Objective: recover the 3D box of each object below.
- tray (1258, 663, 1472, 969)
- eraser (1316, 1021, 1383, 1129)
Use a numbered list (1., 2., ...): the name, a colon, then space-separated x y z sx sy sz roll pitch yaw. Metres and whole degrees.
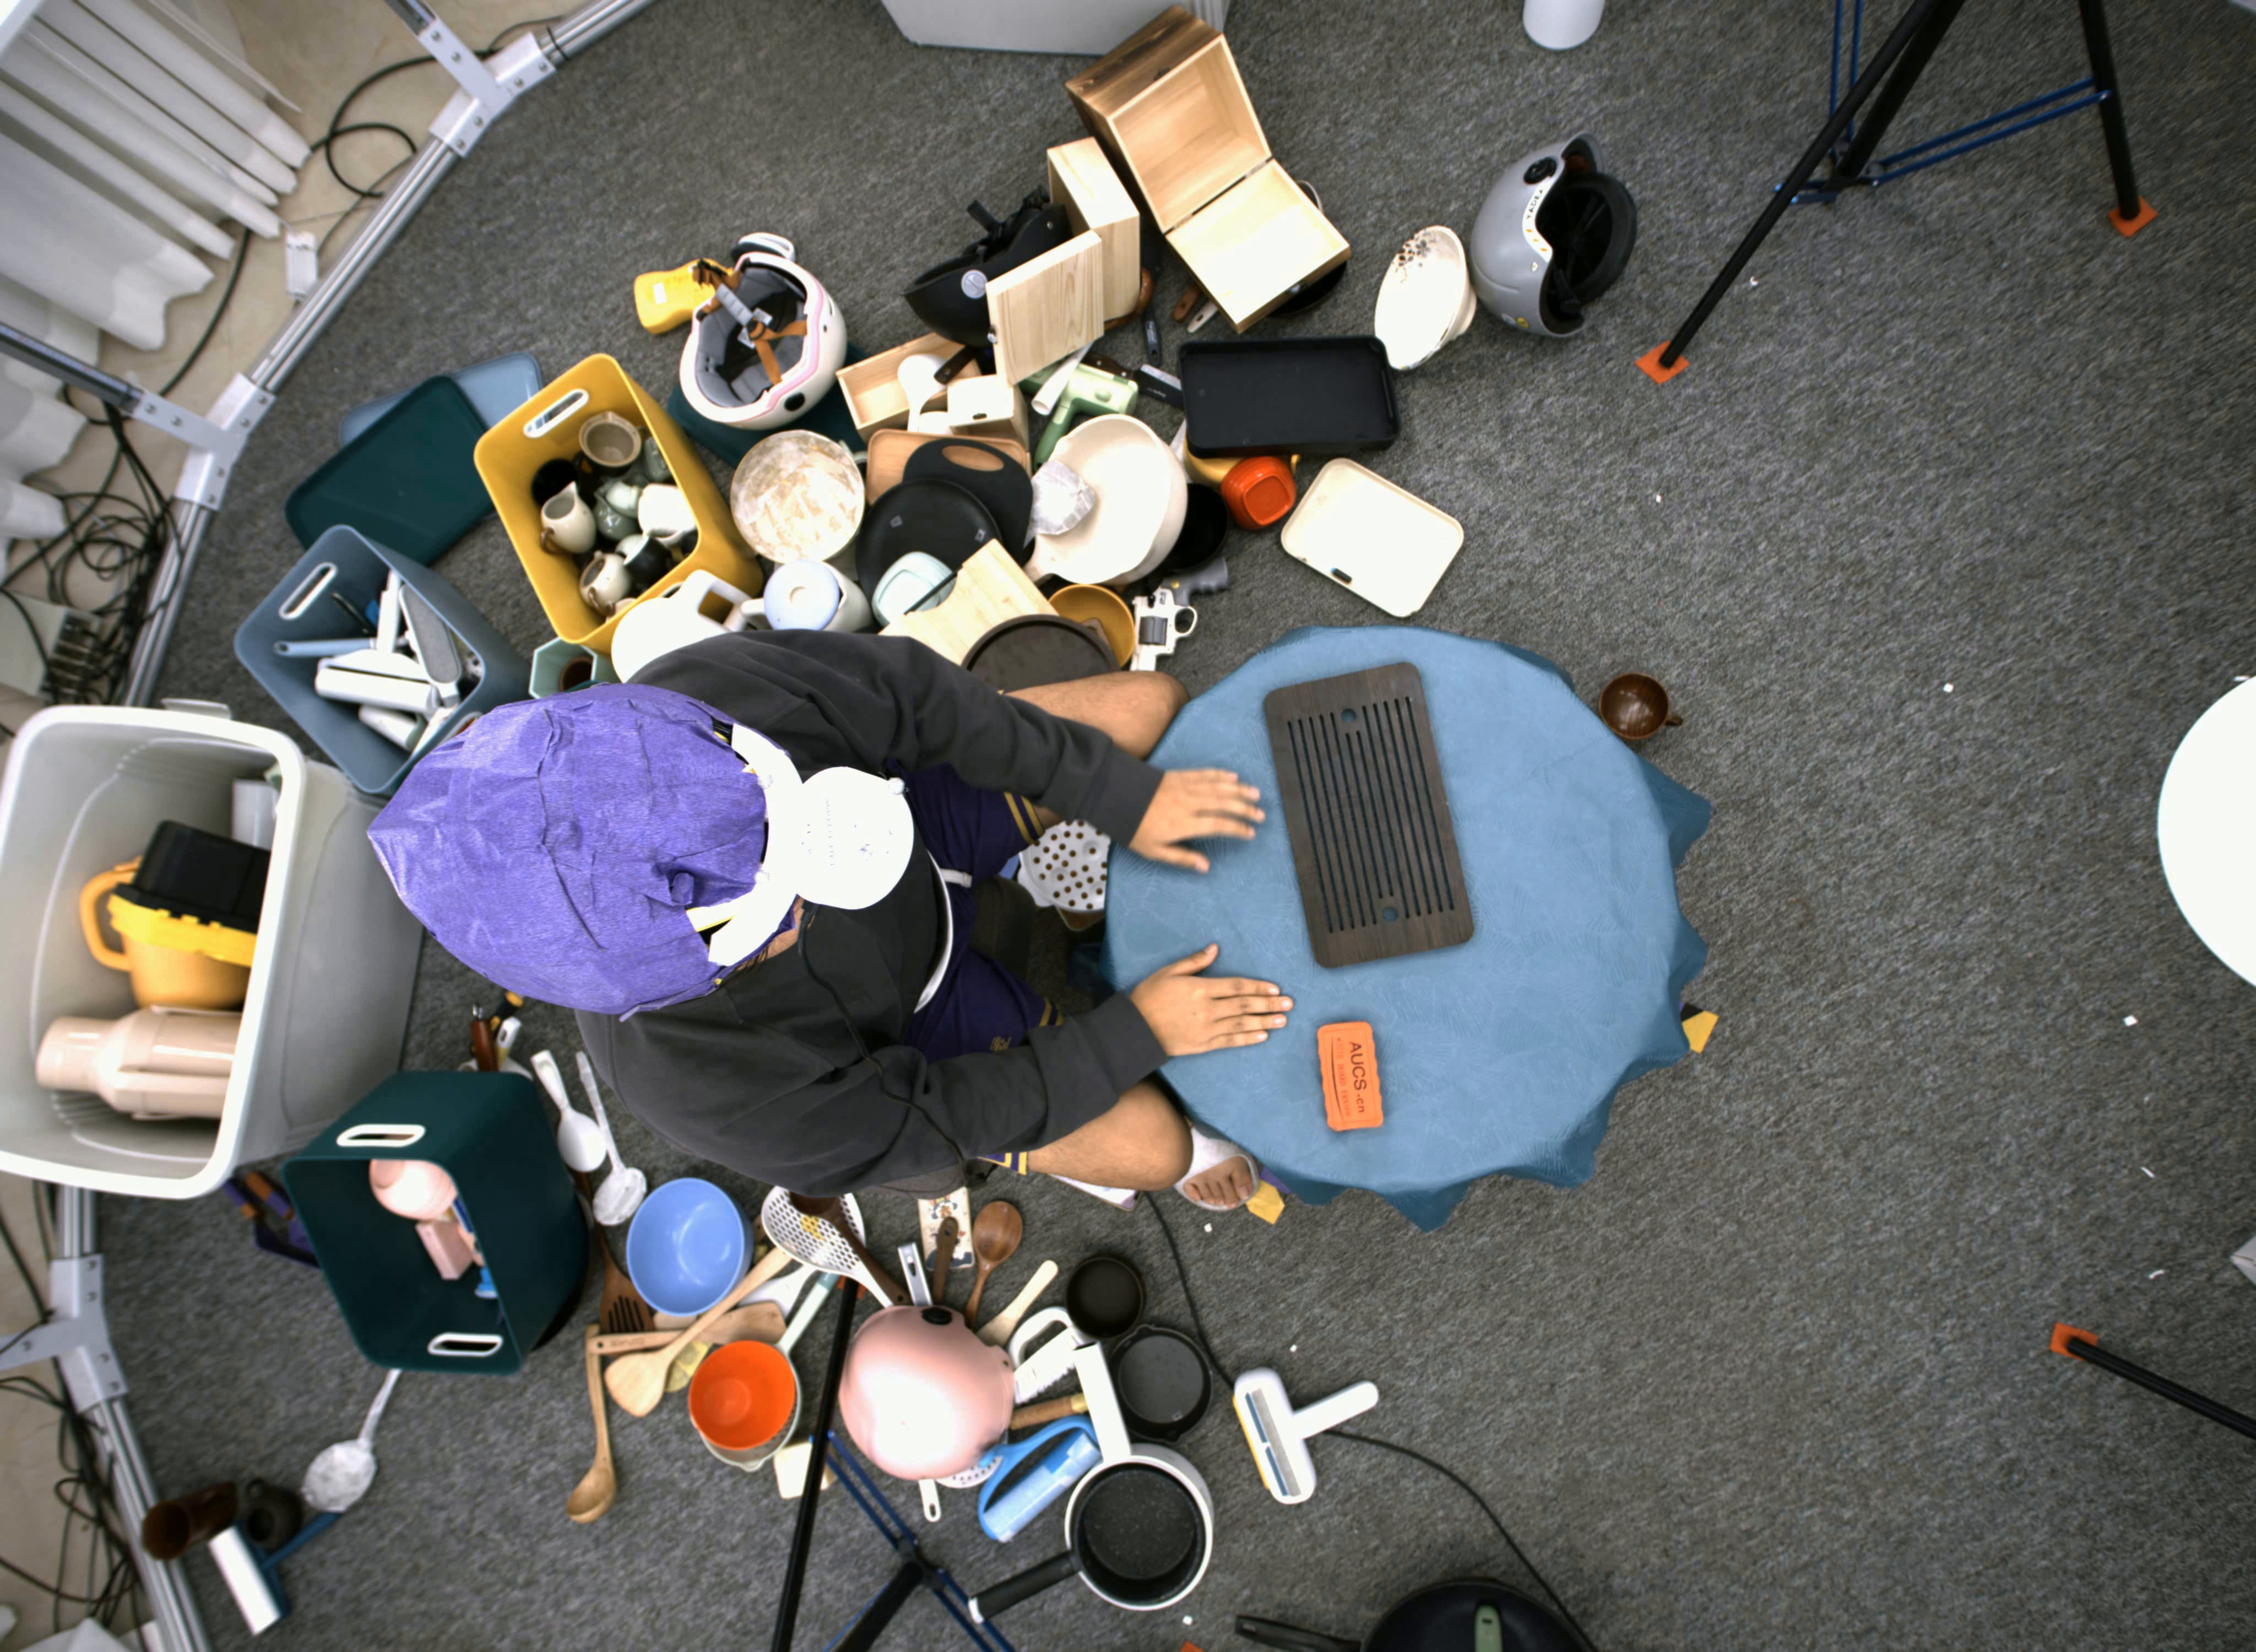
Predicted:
1. tray: 0.249 -0.012 1.459 0.171 0.018 0.304 -12 85 9
2. eraser: 0.230 0.258 1.441 0.059 0.023 0.107 -8 86 10
